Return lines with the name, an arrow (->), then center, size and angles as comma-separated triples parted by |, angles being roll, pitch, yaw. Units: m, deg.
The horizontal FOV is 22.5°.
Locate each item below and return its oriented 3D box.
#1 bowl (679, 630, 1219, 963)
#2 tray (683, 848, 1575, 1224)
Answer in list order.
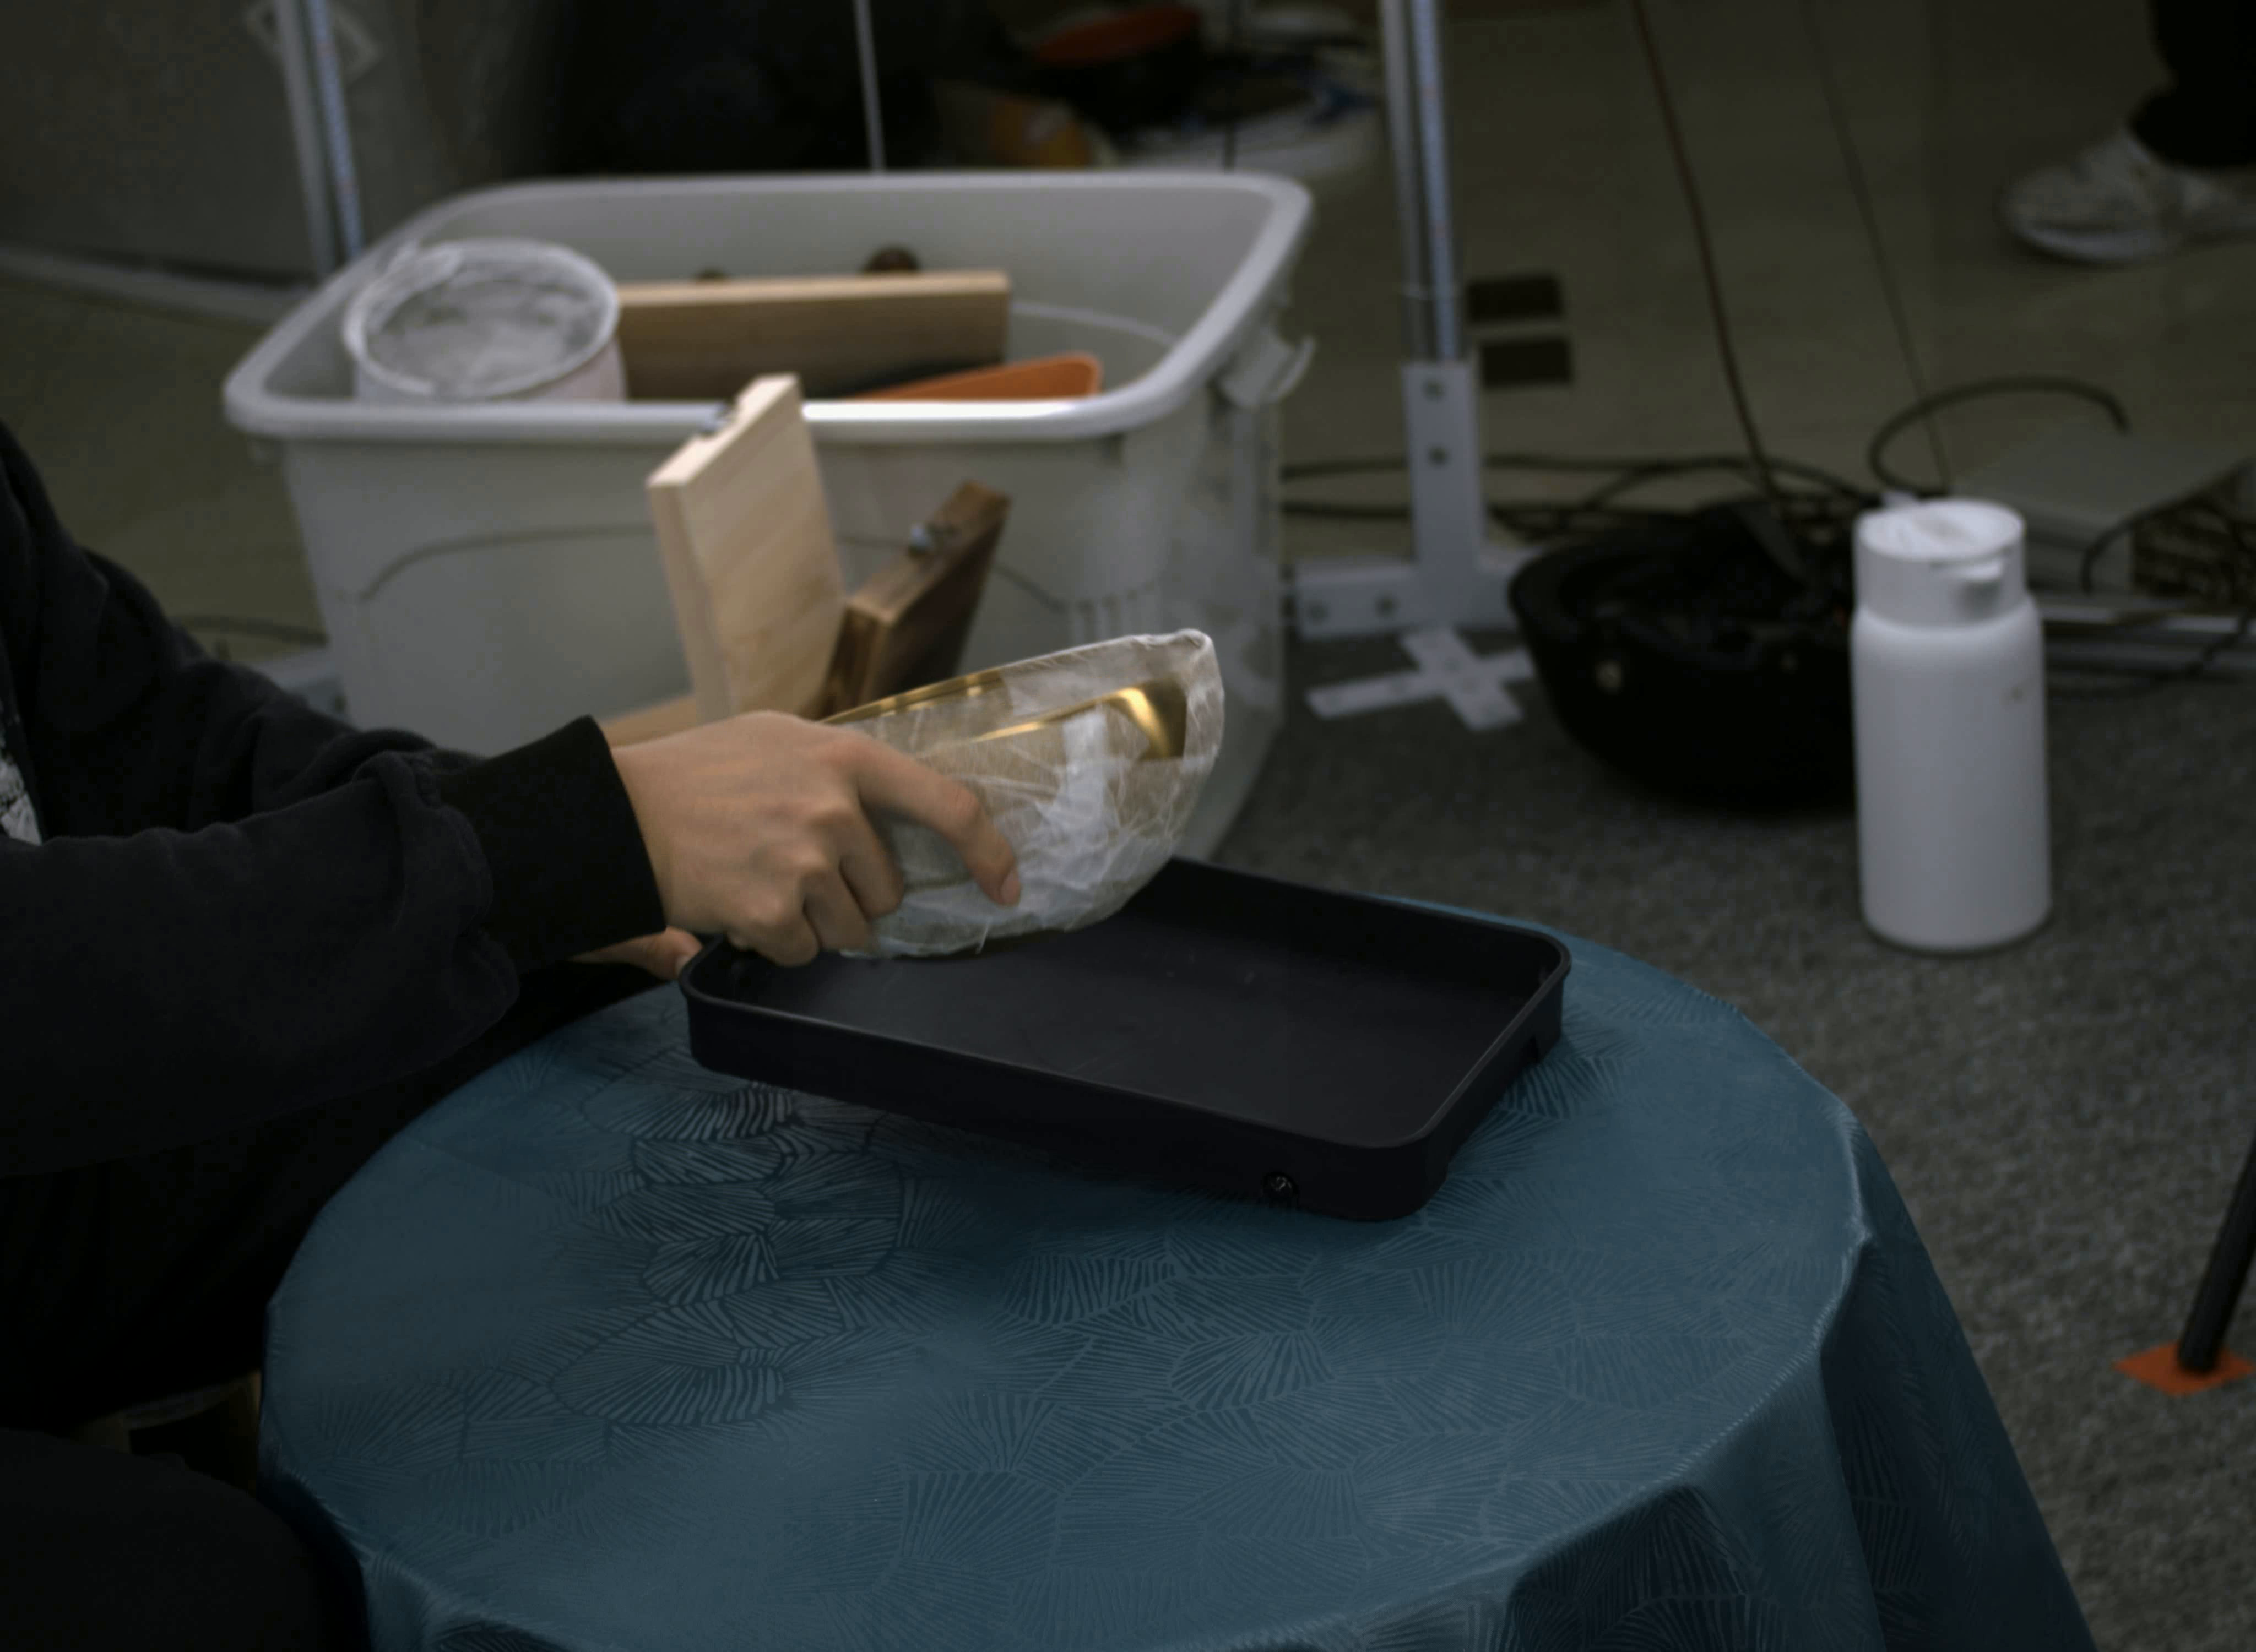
bowl -> -0.059, -0.002, 2.132 | 0.214, 0.095, 0.213 | -15, 9, 3
tray -> 0.001, 0.068, 2.222 | 0.316, 0.037, 0.182 | 12, 32, 23
